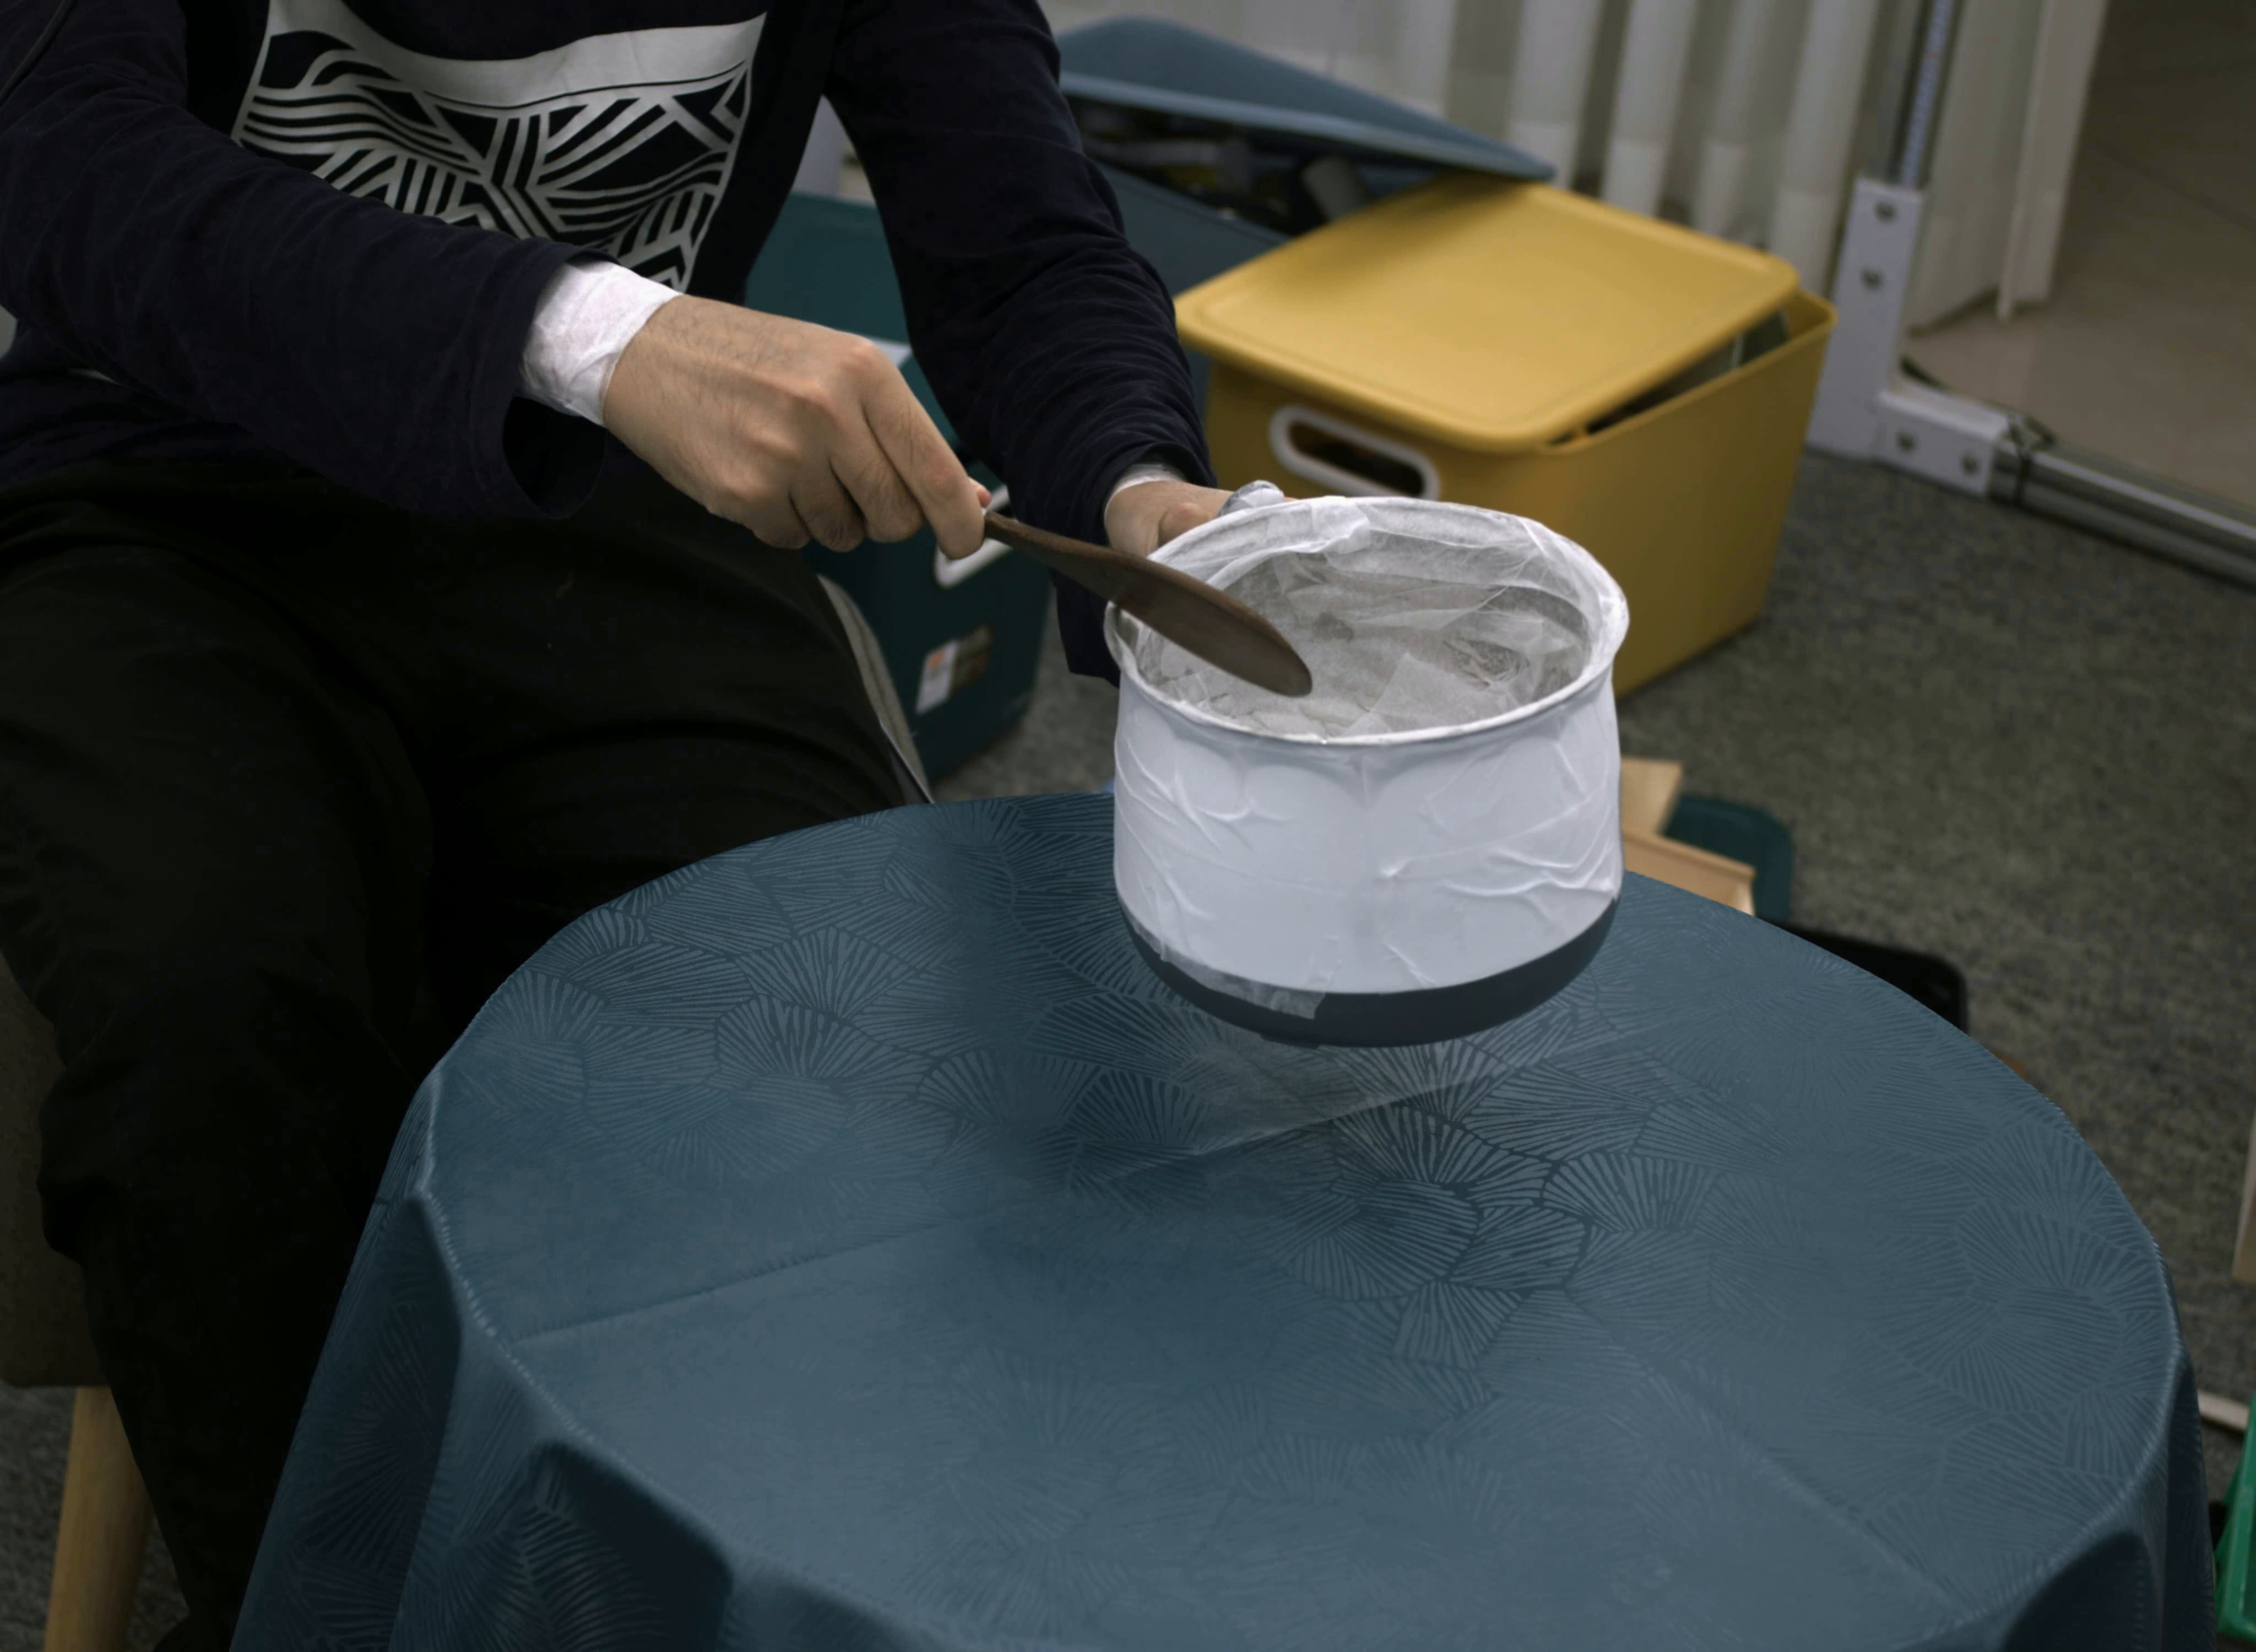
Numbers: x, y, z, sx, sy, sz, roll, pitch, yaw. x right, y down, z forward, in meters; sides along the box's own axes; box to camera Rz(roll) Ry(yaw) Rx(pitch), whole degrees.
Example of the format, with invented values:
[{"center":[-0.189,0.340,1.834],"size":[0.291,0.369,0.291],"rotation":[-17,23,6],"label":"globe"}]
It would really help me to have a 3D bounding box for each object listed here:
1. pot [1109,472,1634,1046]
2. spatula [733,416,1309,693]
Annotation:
[{"center":[0.071,-0.031,1.848],"size":[0.178,0.136,0.236],"rotation":[-10,31,-19],"label":"pot"},{"center":[-0.036,-0.092,1.788],"size":[0.216,0.071,0.009],"rotation":[24,74,8],"label":"spatula"}]
